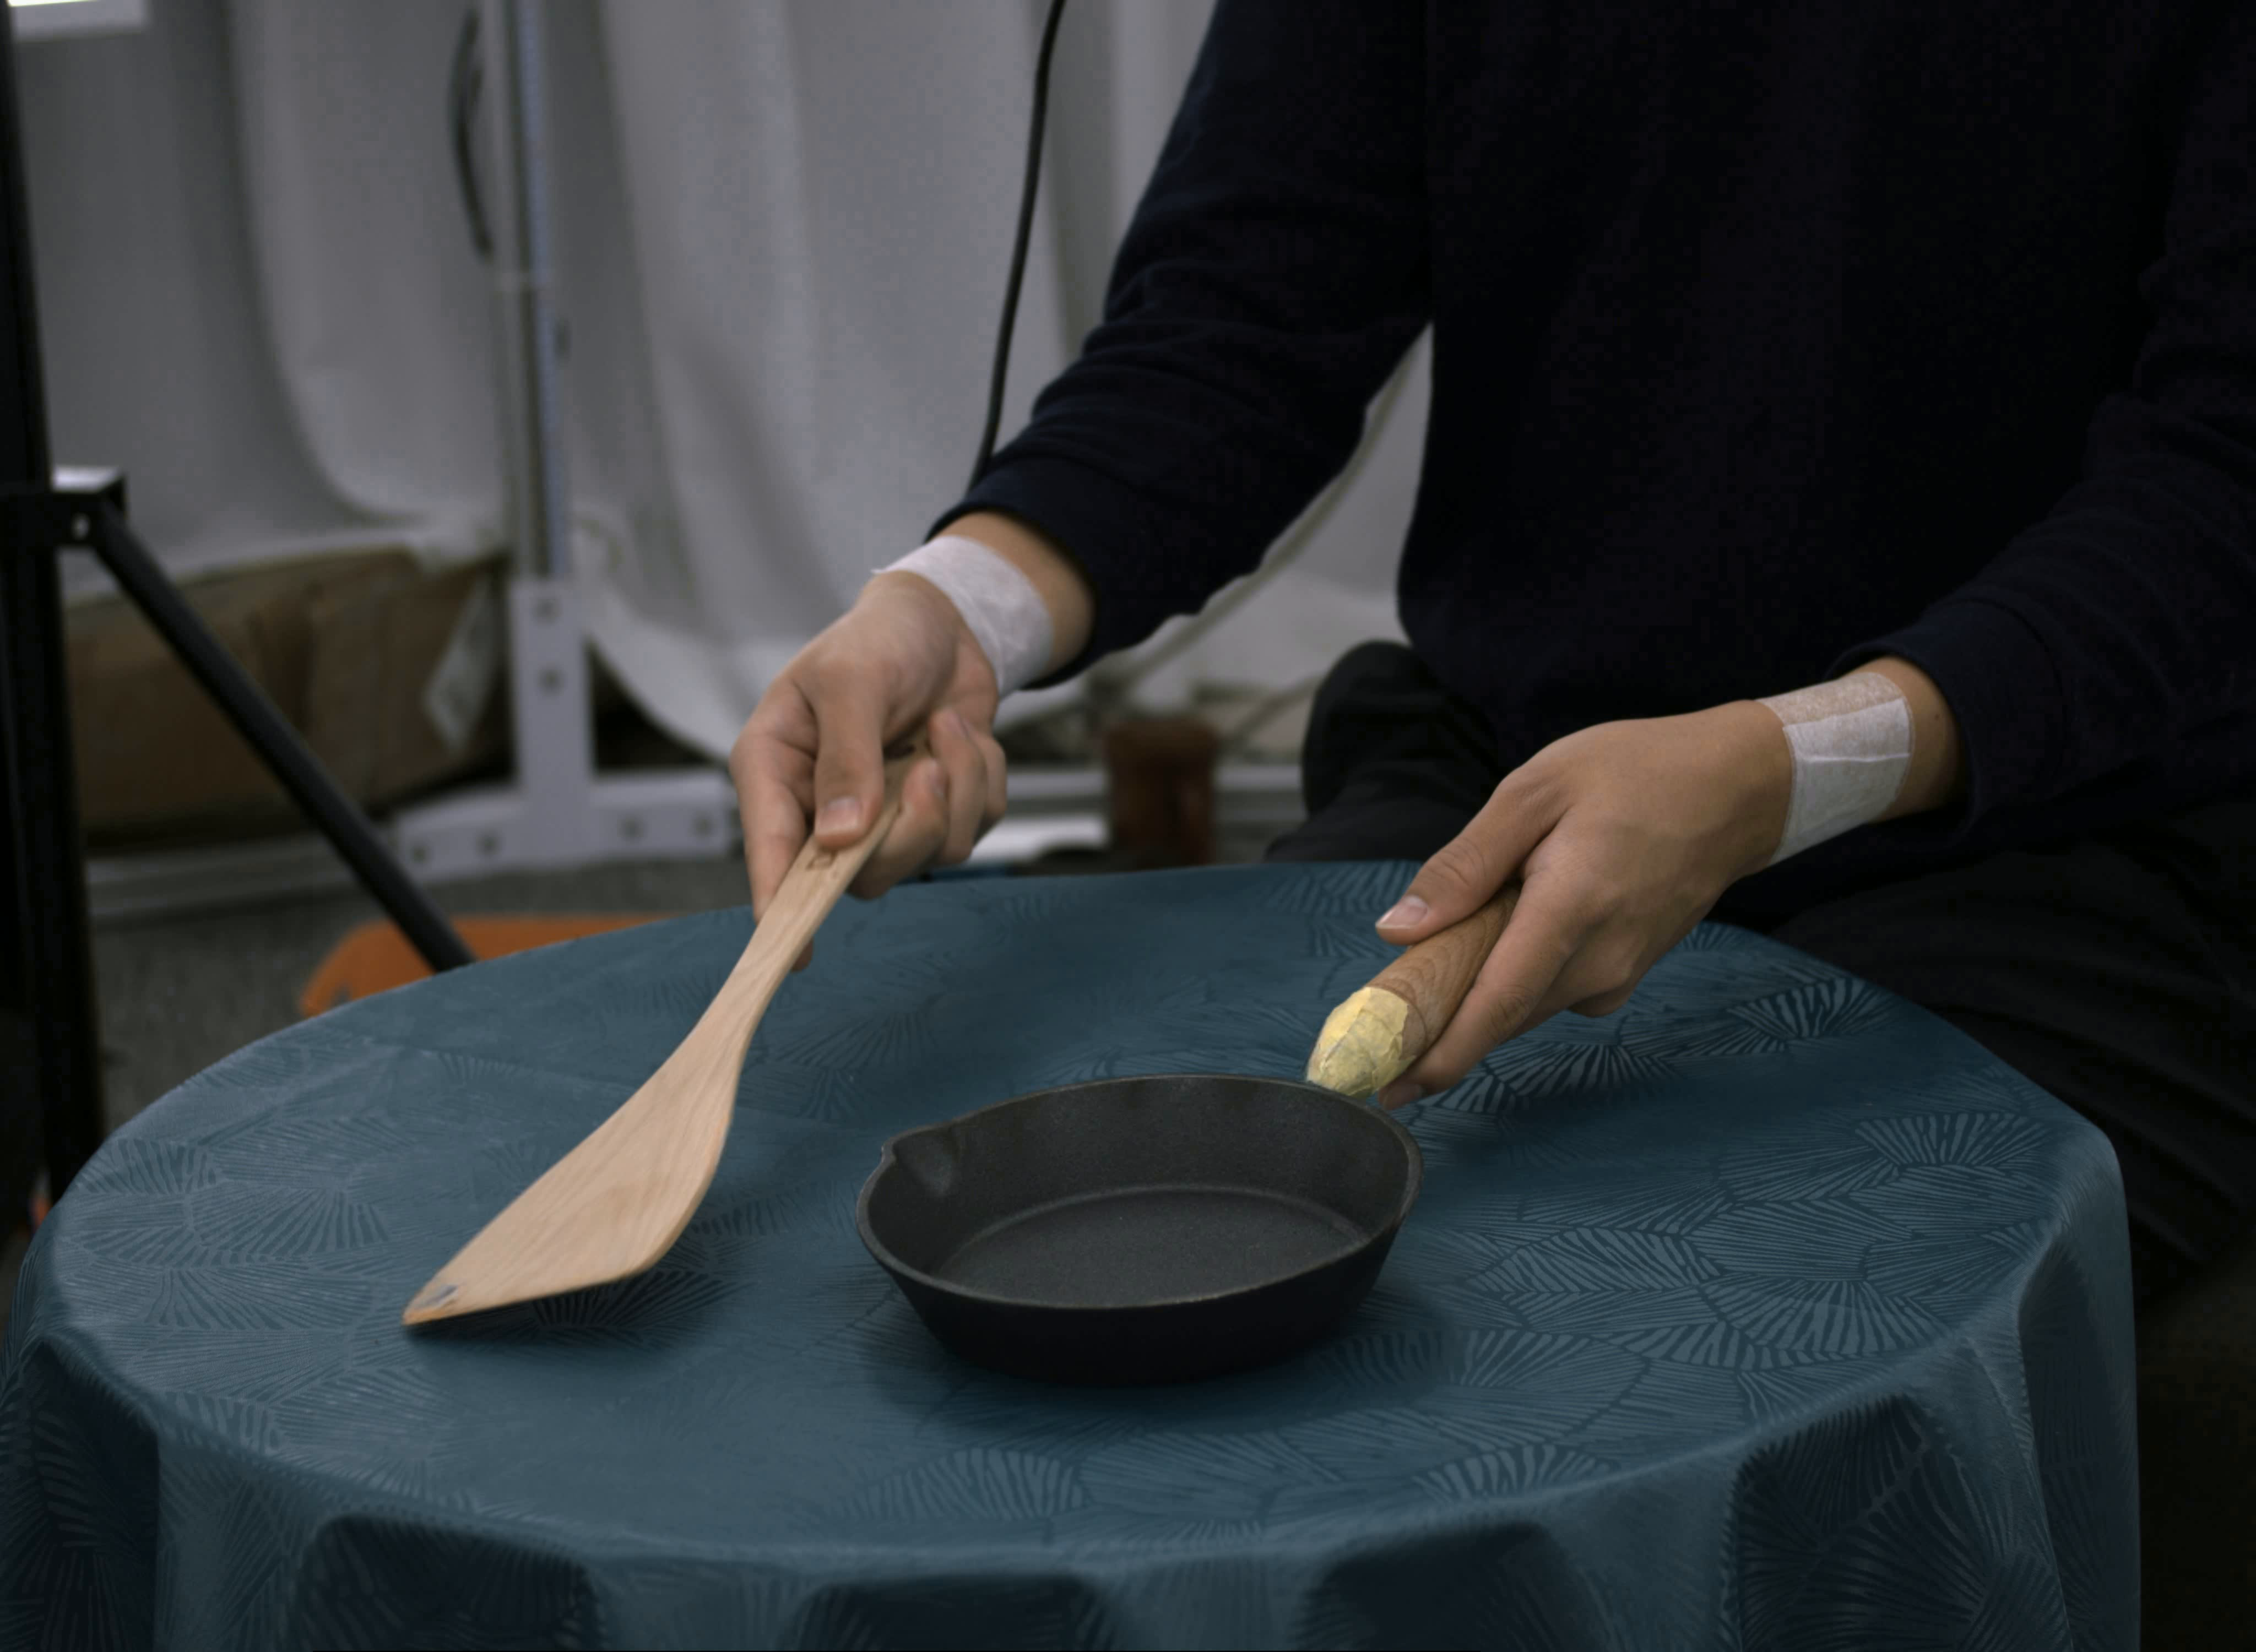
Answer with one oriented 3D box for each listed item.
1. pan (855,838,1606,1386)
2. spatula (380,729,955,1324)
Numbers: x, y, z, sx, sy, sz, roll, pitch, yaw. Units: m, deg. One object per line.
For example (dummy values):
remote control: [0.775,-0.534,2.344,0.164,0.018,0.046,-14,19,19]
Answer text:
pan: [0.053,0.078,1.520,0.172,0.049,0.318,9,26,36]
spatula: [-0.119,0.054,1.590,0.081,0.016,0.326,-5,30,27]
